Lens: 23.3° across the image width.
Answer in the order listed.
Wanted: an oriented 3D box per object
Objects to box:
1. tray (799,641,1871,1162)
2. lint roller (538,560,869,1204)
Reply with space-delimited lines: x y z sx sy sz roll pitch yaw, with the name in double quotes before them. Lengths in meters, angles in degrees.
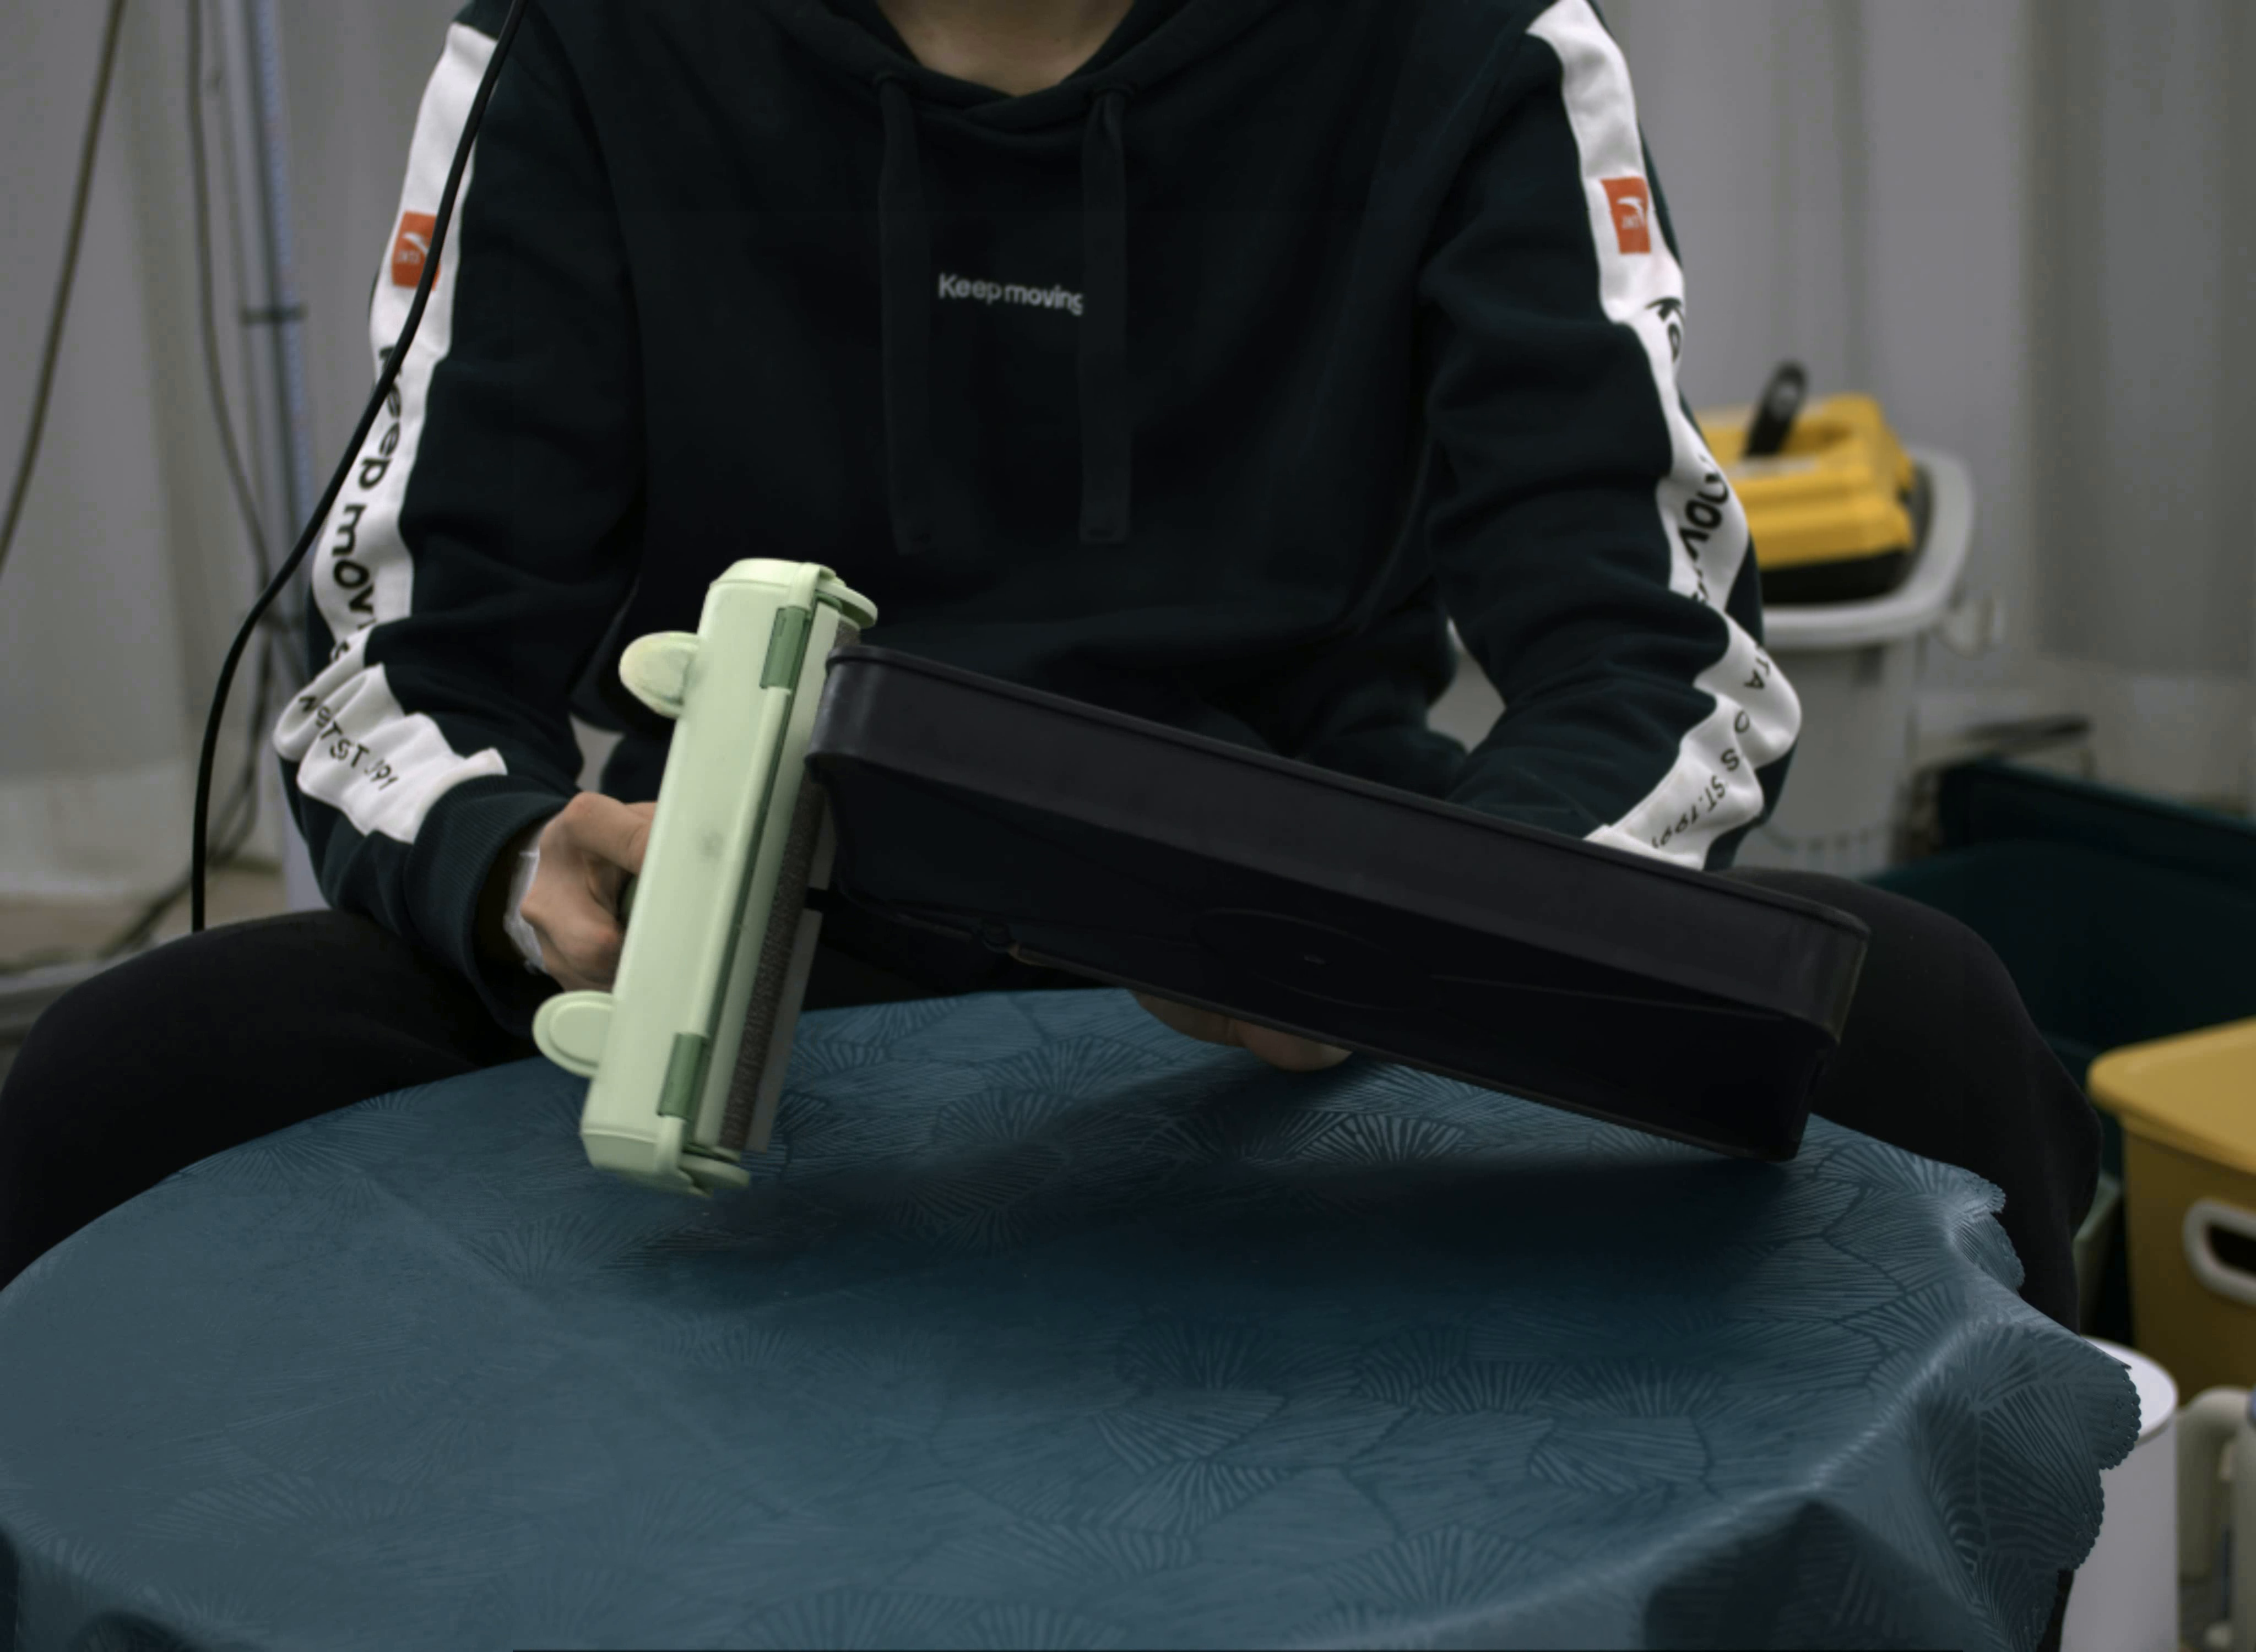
"tray" 0.059 0.026 1.649 0.318 0.037 0.183 15 -16 7
"lint roller" -0.152 0.020 1.741 0.081 0.200 0.183 16 -12 -23
